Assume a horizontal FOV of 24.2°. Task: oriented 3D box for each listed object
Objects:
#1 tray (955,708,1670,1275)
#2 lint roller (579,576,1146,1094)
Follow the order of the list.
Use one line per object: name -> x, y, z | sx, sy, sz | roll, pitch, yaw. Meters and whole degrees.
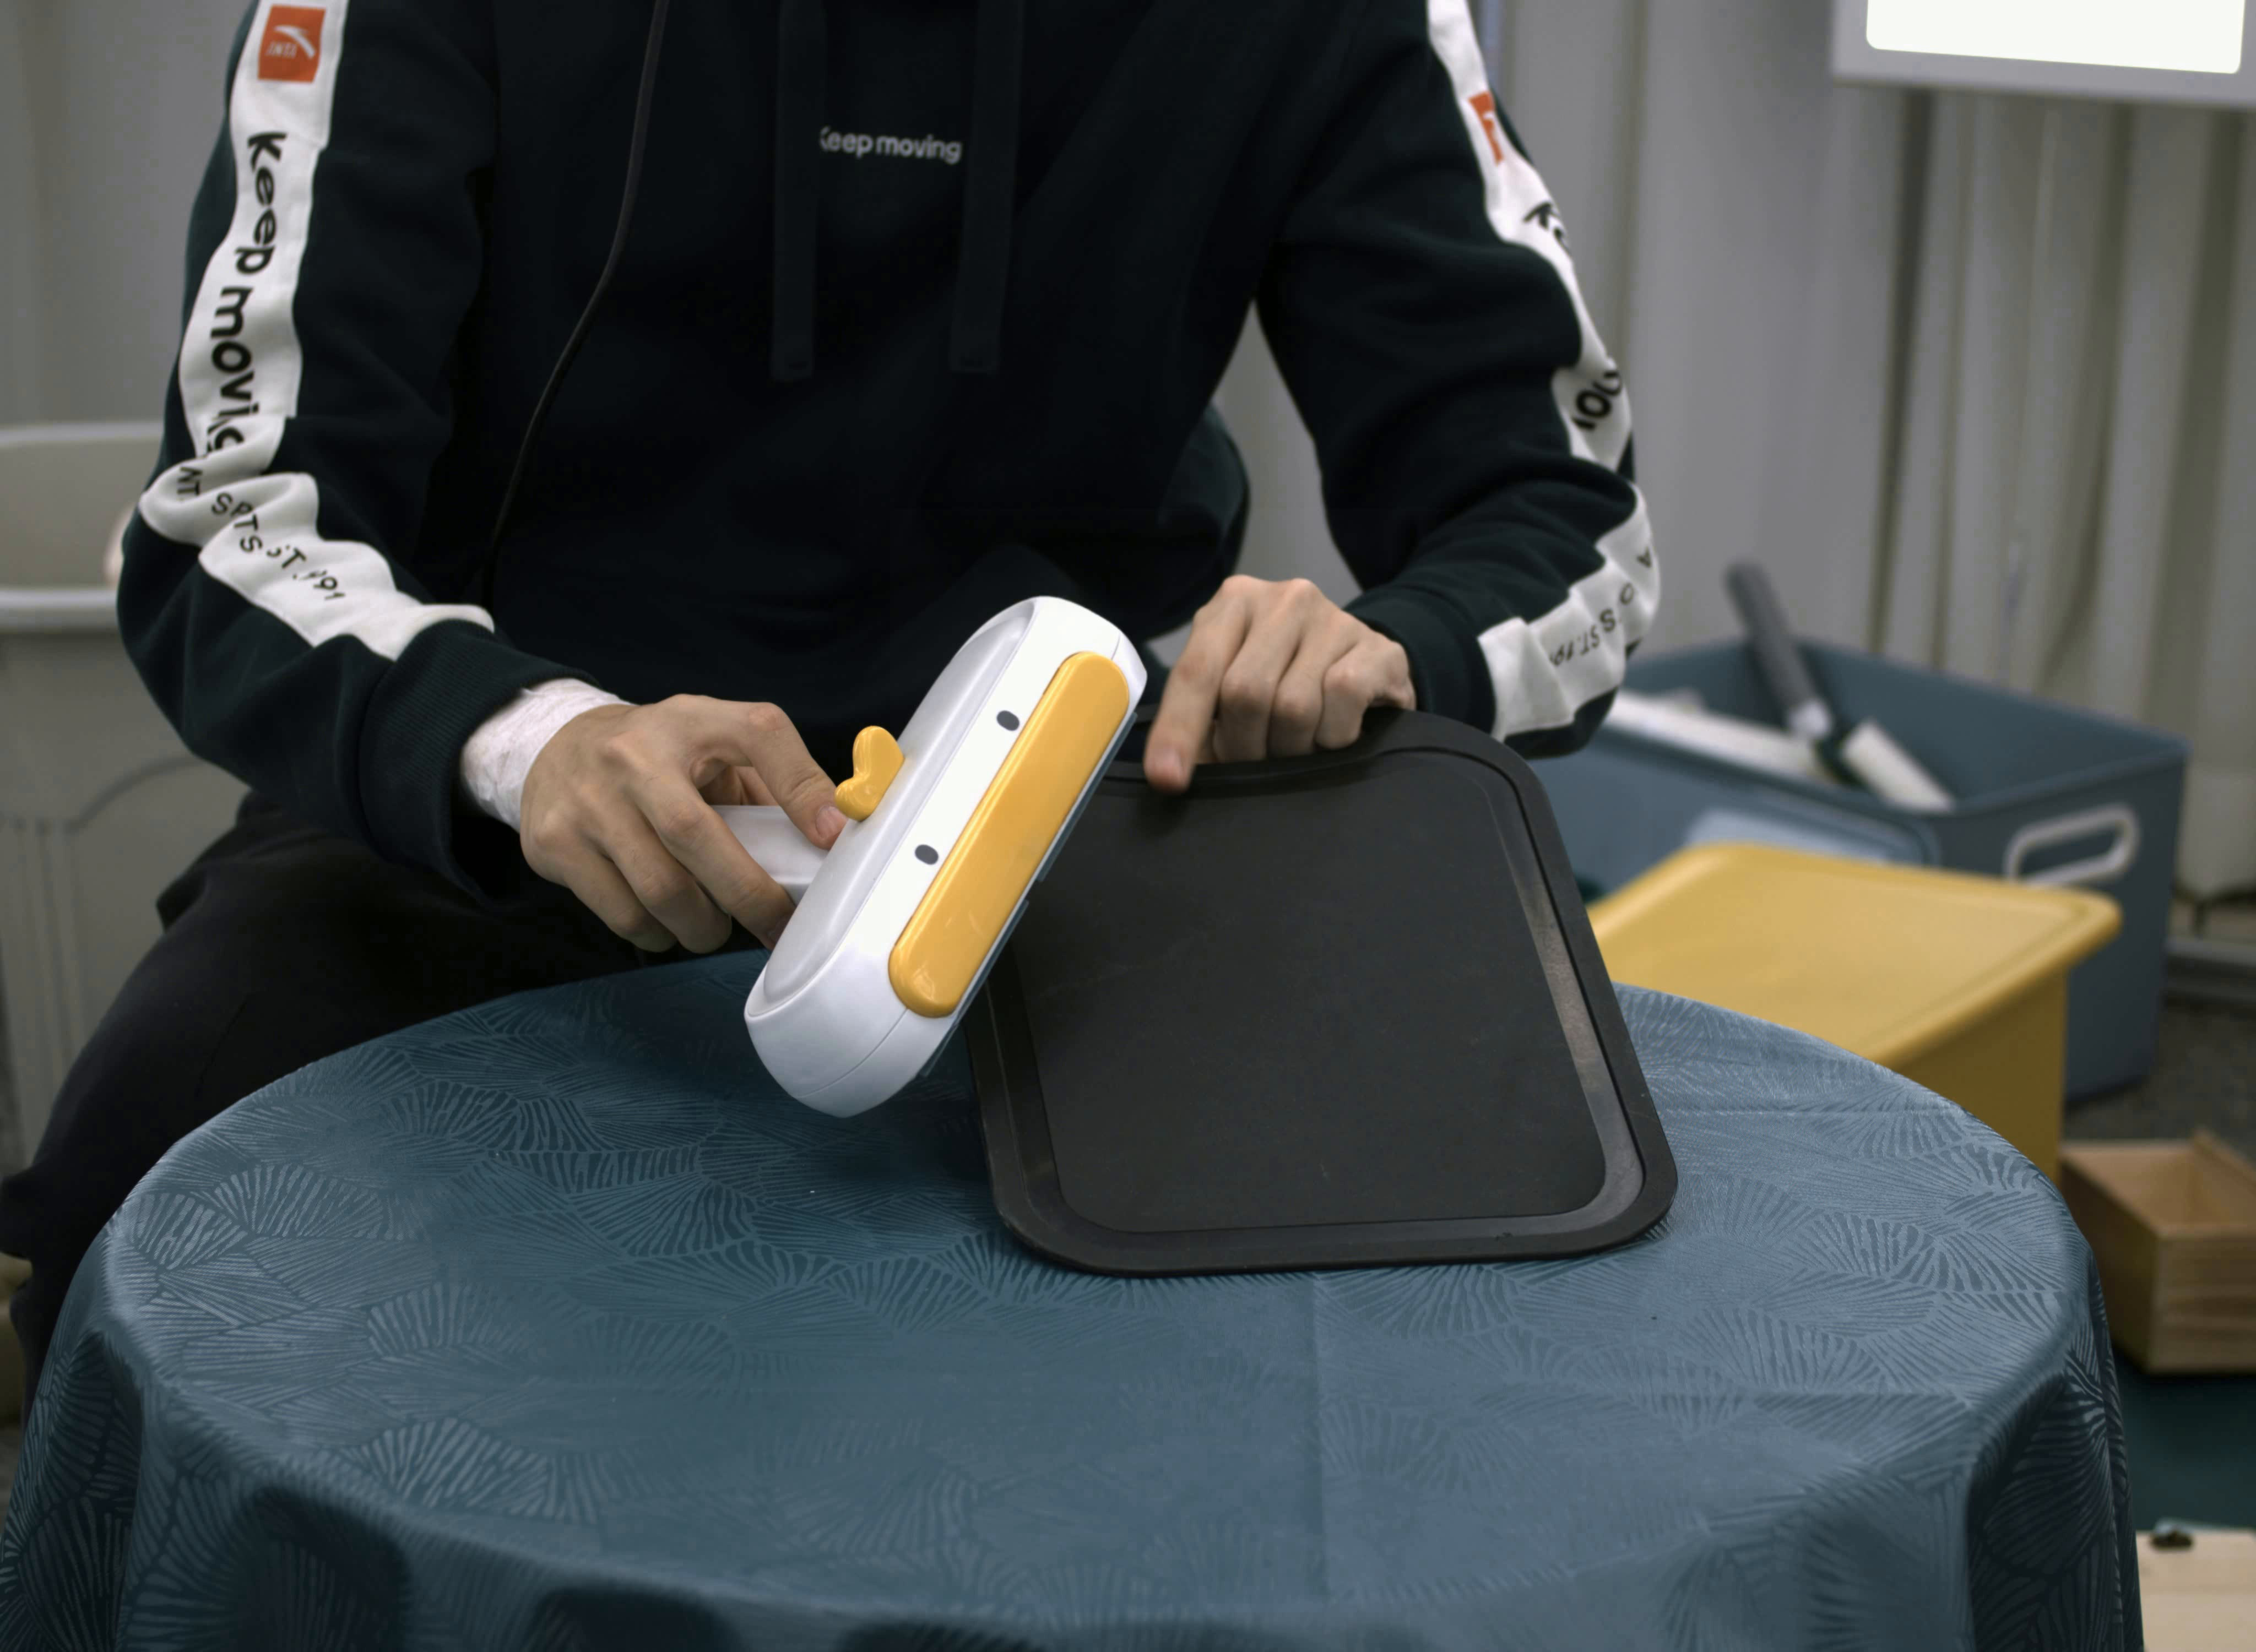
tray -> 0.047, 0.044, 1.688 | 0.211, 0.010, 0.322 | -1, 32, -7
lint roller -> -0.098, 0.010, 1.695 | 0.191, 0.075, 0.192 | -18, 39, 44
